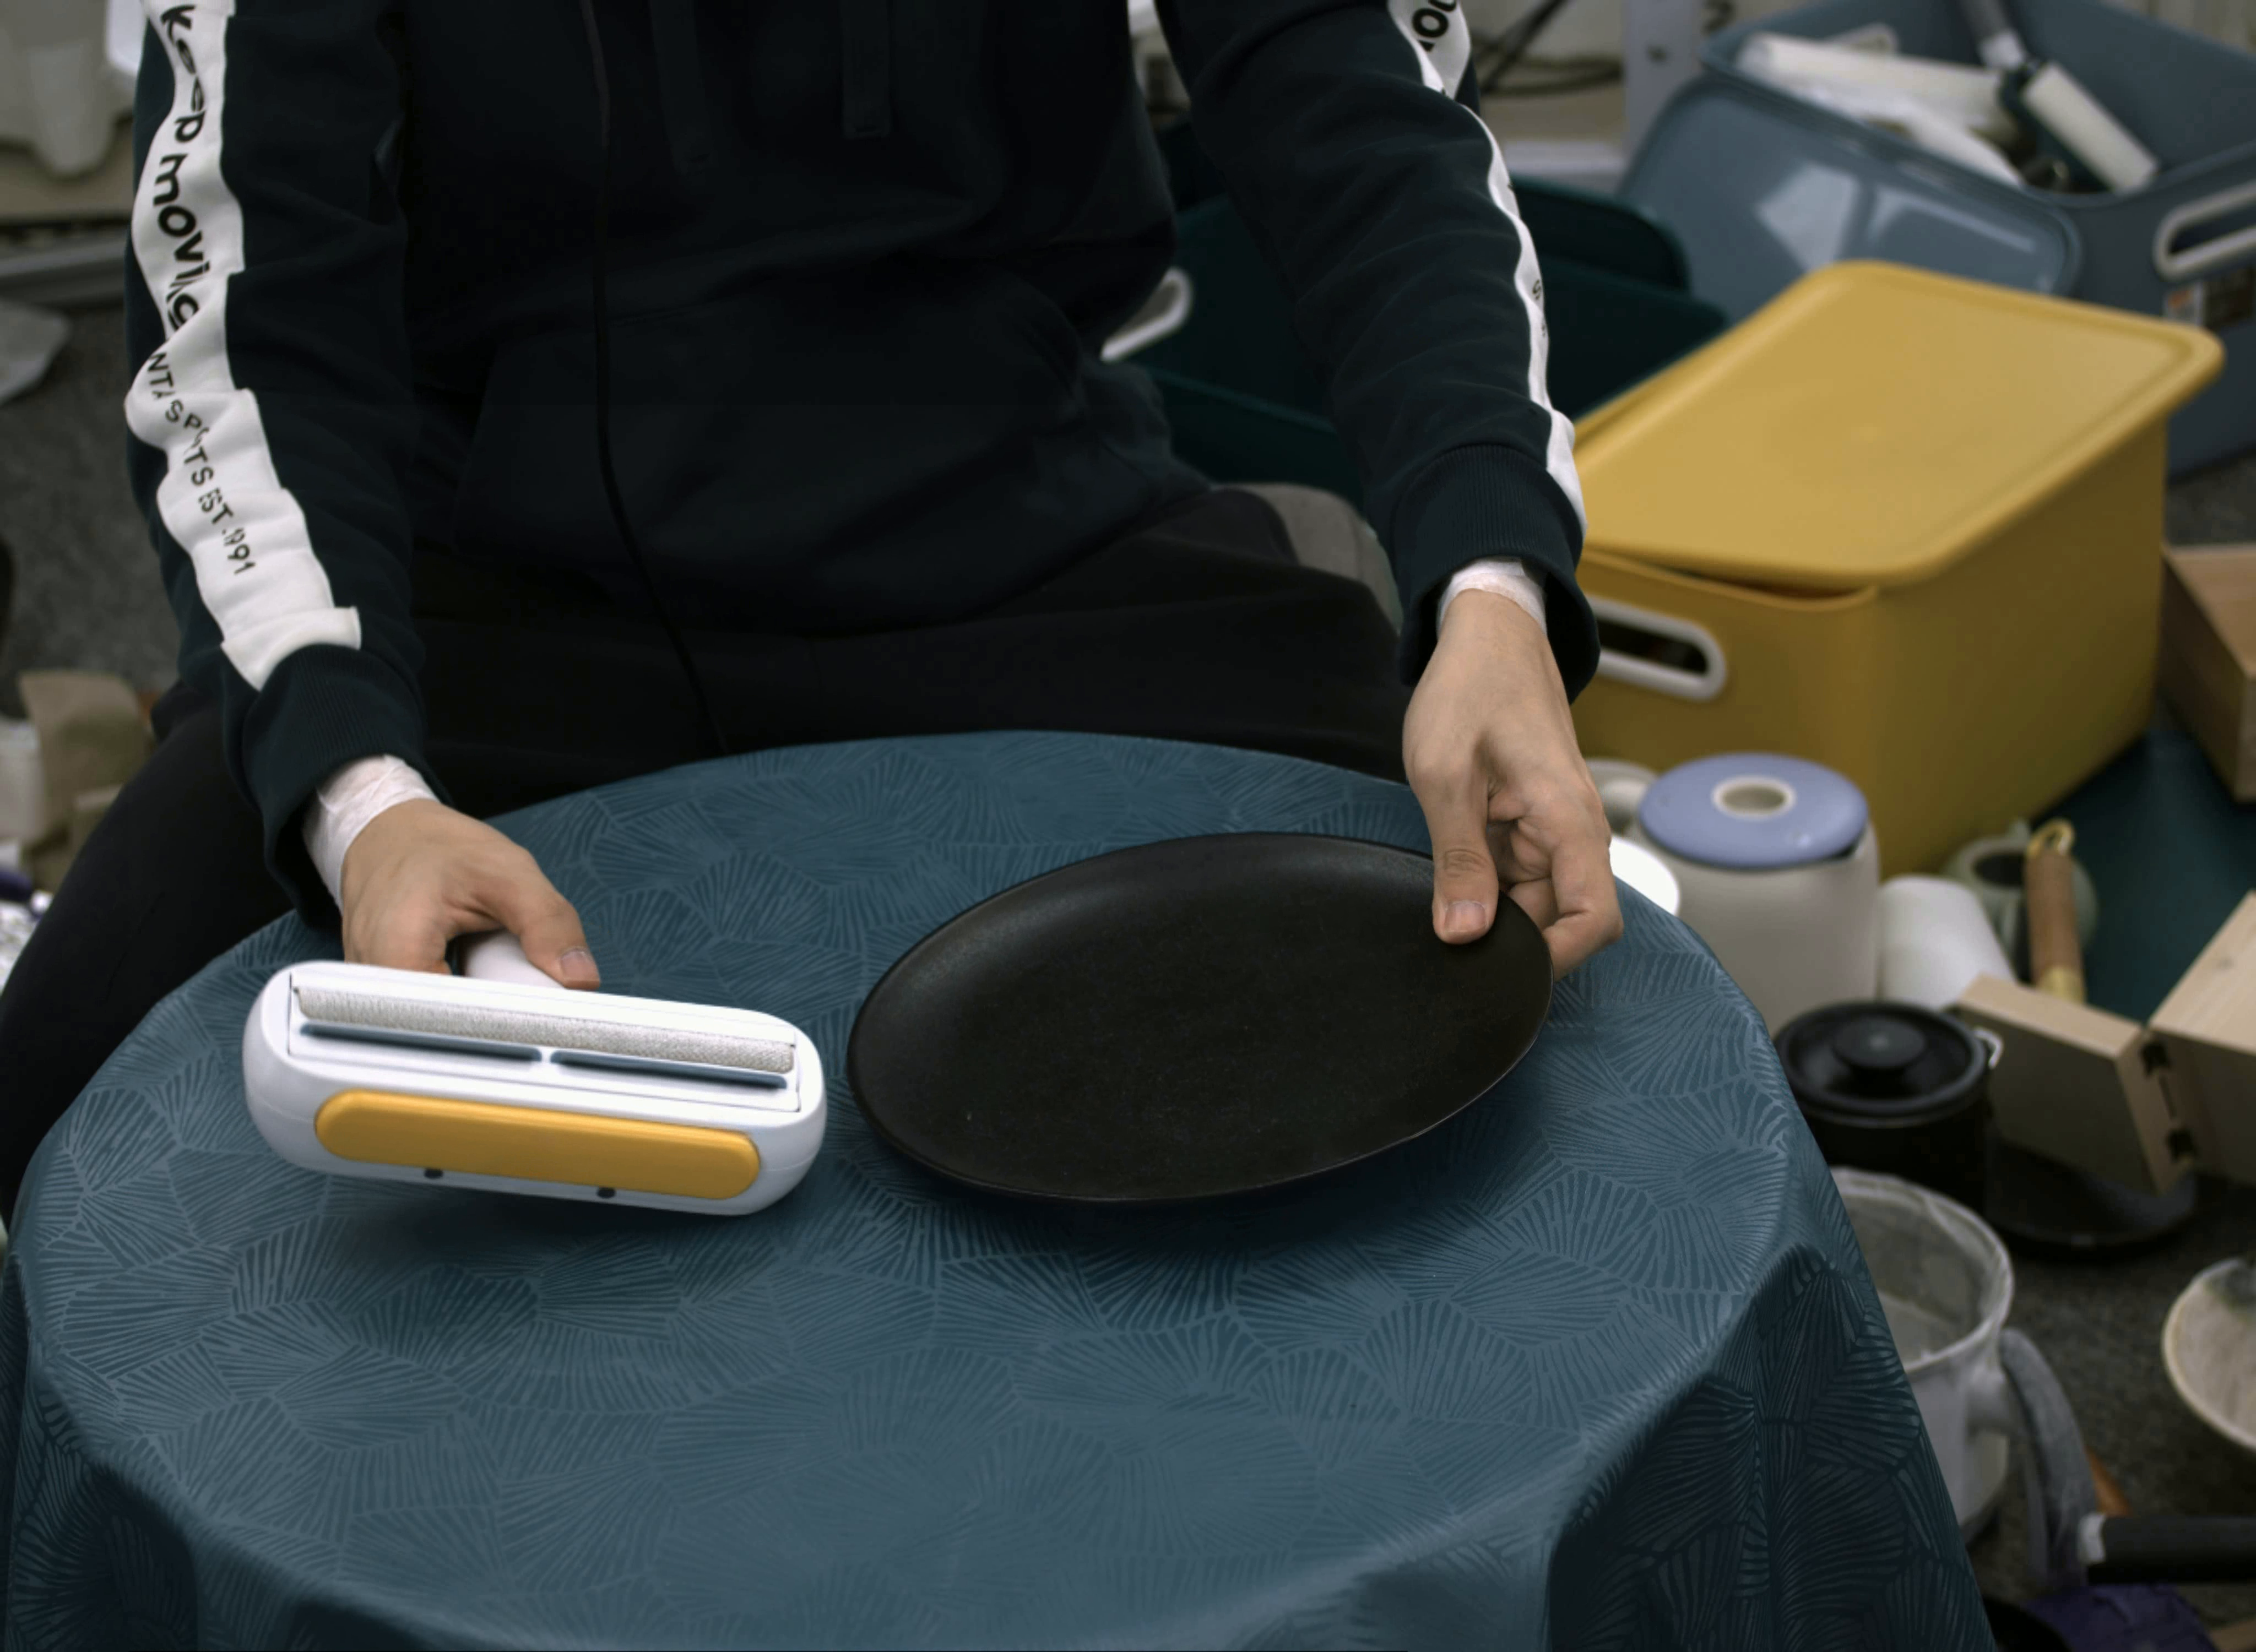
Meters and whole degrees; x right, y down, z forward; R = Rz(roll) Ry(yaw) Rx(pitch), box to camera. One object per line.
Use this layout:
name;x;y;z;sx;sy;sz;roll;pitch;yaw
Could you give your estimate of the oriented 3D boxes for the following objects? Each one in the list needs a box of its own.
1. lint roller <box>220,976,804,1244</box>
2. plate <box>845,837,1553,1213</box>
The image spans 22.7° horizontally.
lint roller;-0.207;0.084;1.905;0.192;0.074;0.194;6;15;-6
plate;0.025;0.071;1.913;0.243;0.023;0.248;-7;28;4
